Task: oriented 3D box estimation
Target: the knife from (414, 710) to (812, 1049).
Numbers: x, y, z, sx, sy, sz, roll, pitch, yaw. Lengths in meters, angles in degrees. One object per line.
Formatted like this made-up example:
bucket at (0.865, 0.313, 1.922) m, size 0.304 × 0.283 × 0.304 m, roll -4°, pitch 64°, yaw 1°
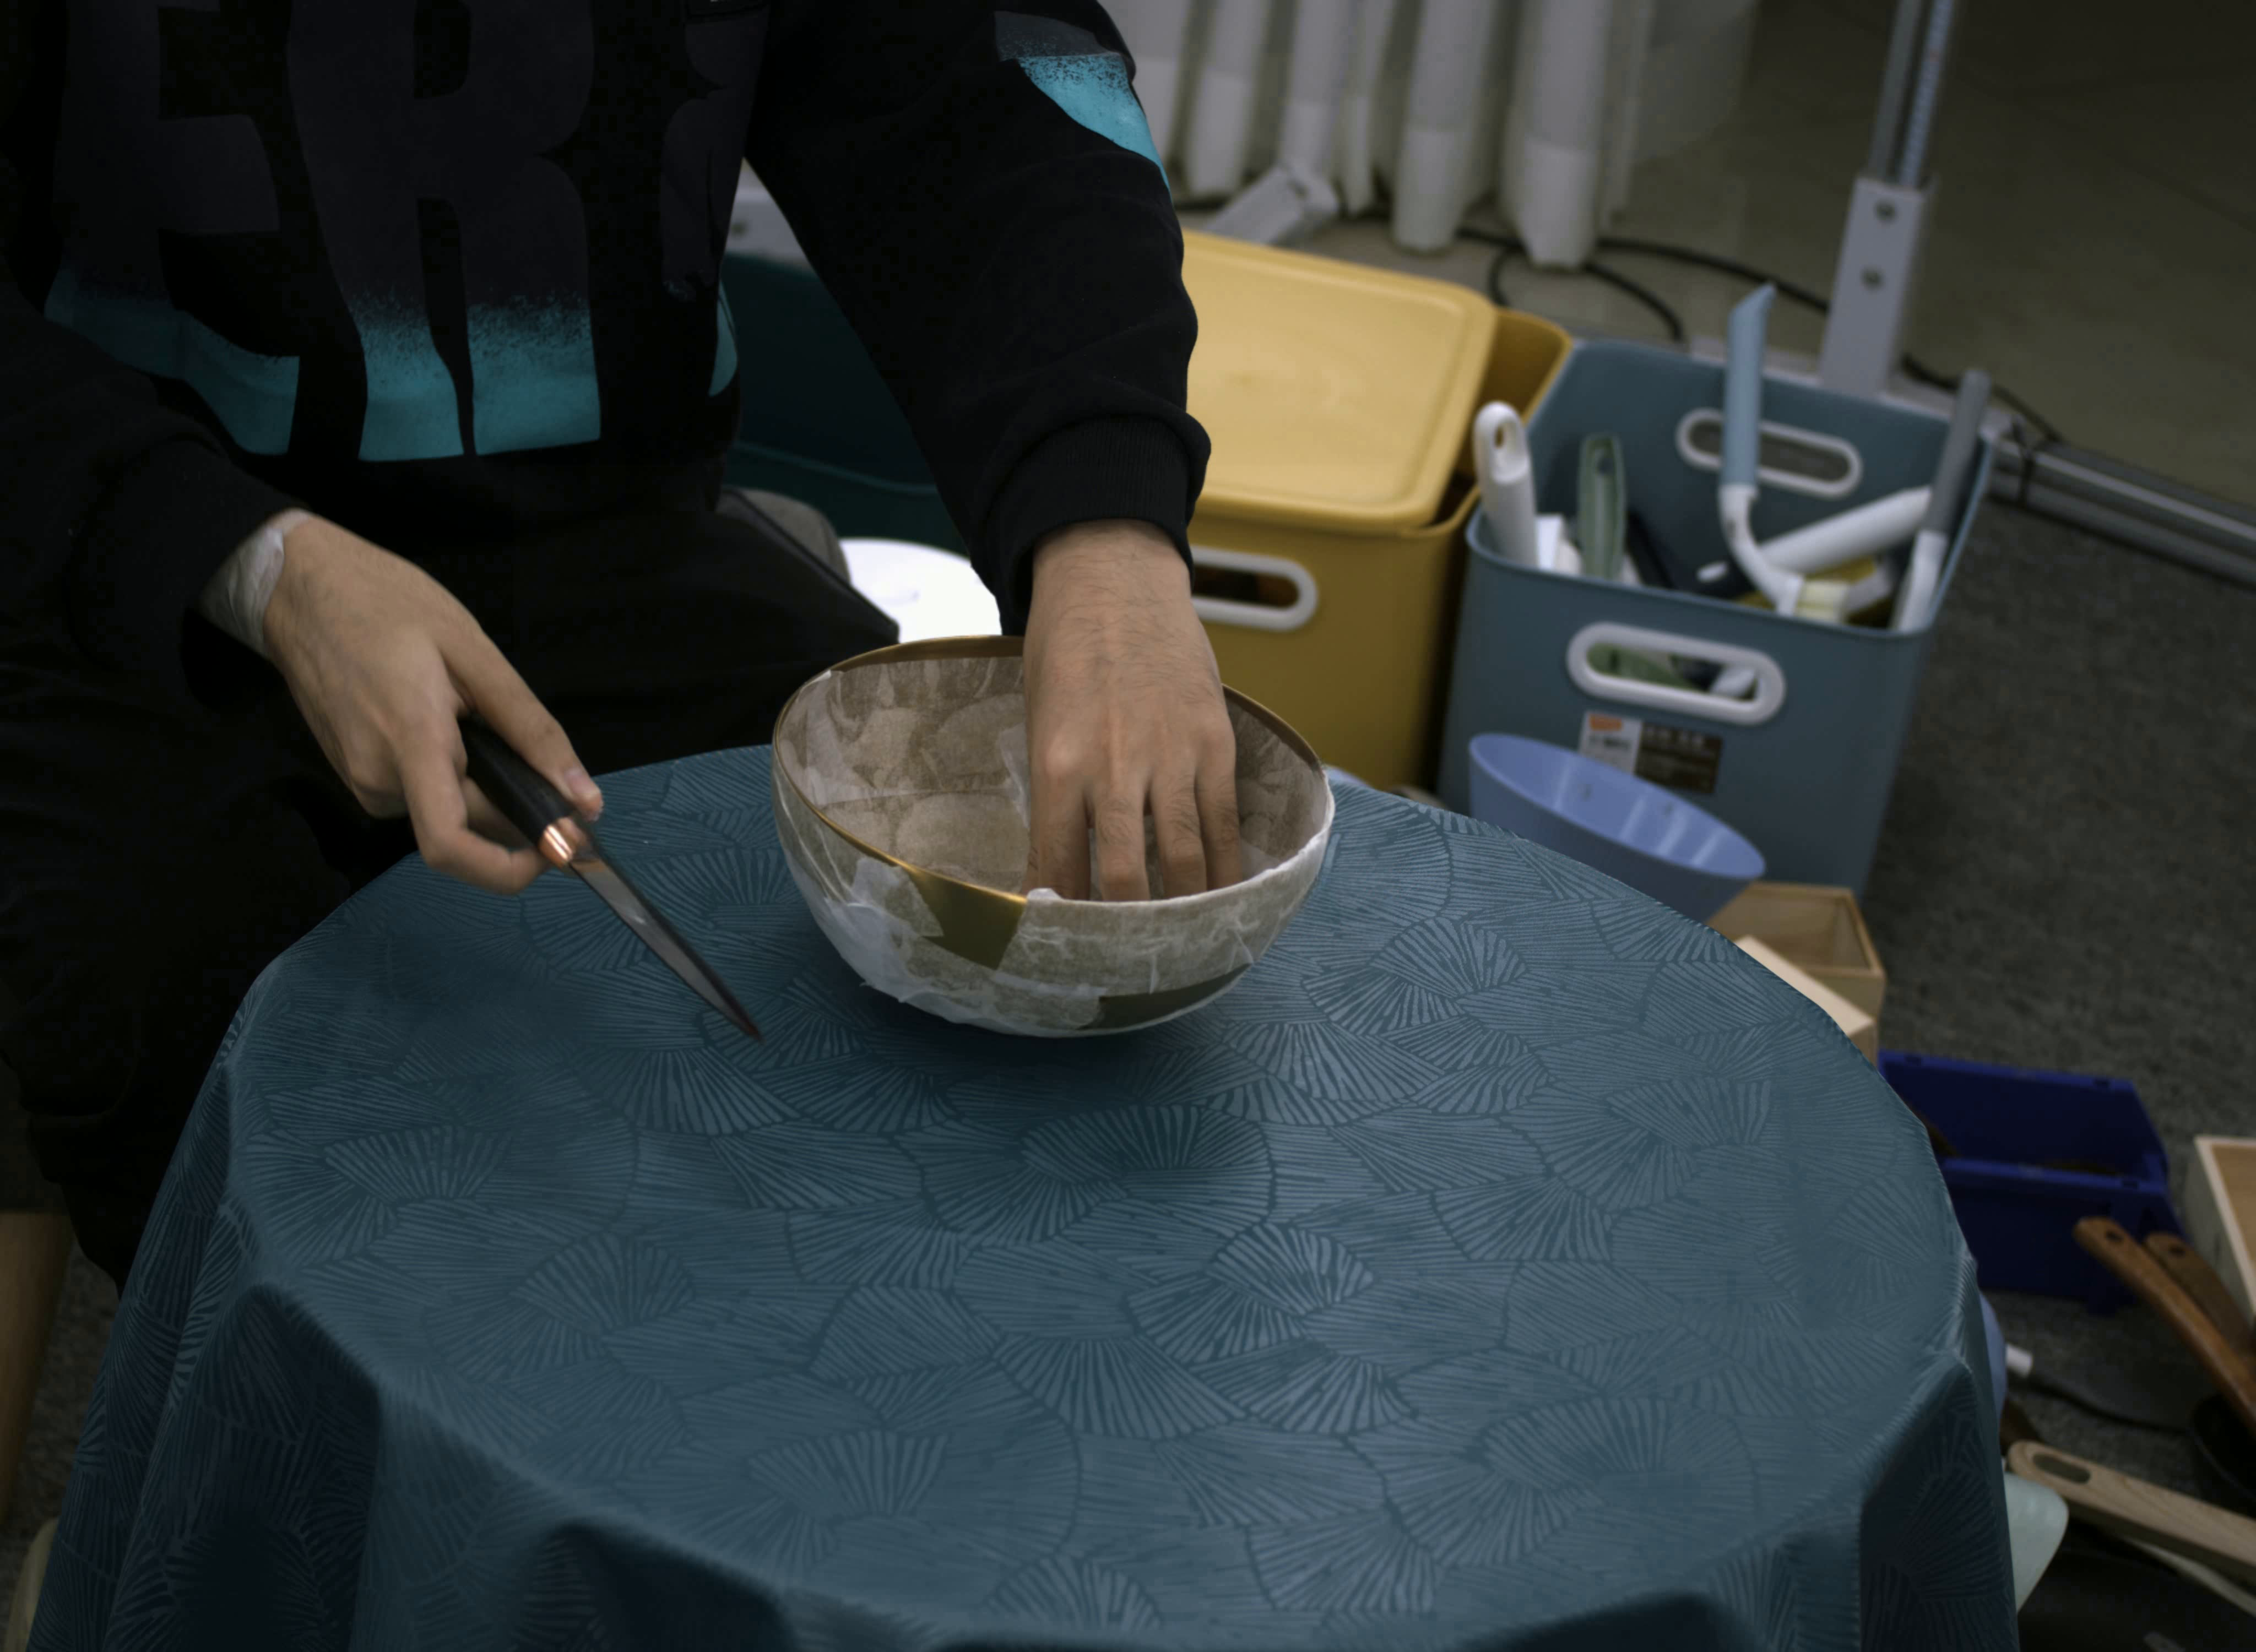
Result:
knife at (-0.175, 0.017, 1.783) m, size 0.026 × 0.017 × 0.227 m, roll 8°, pitch 23°, yaw -46°

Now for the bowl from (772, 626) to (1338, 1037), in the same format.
bowl at (-0.031, 0.014, 1.905) m, size 0.214 × 0.094 × 0.216 m, roll 5°, pitch 28°, yaw -3°
